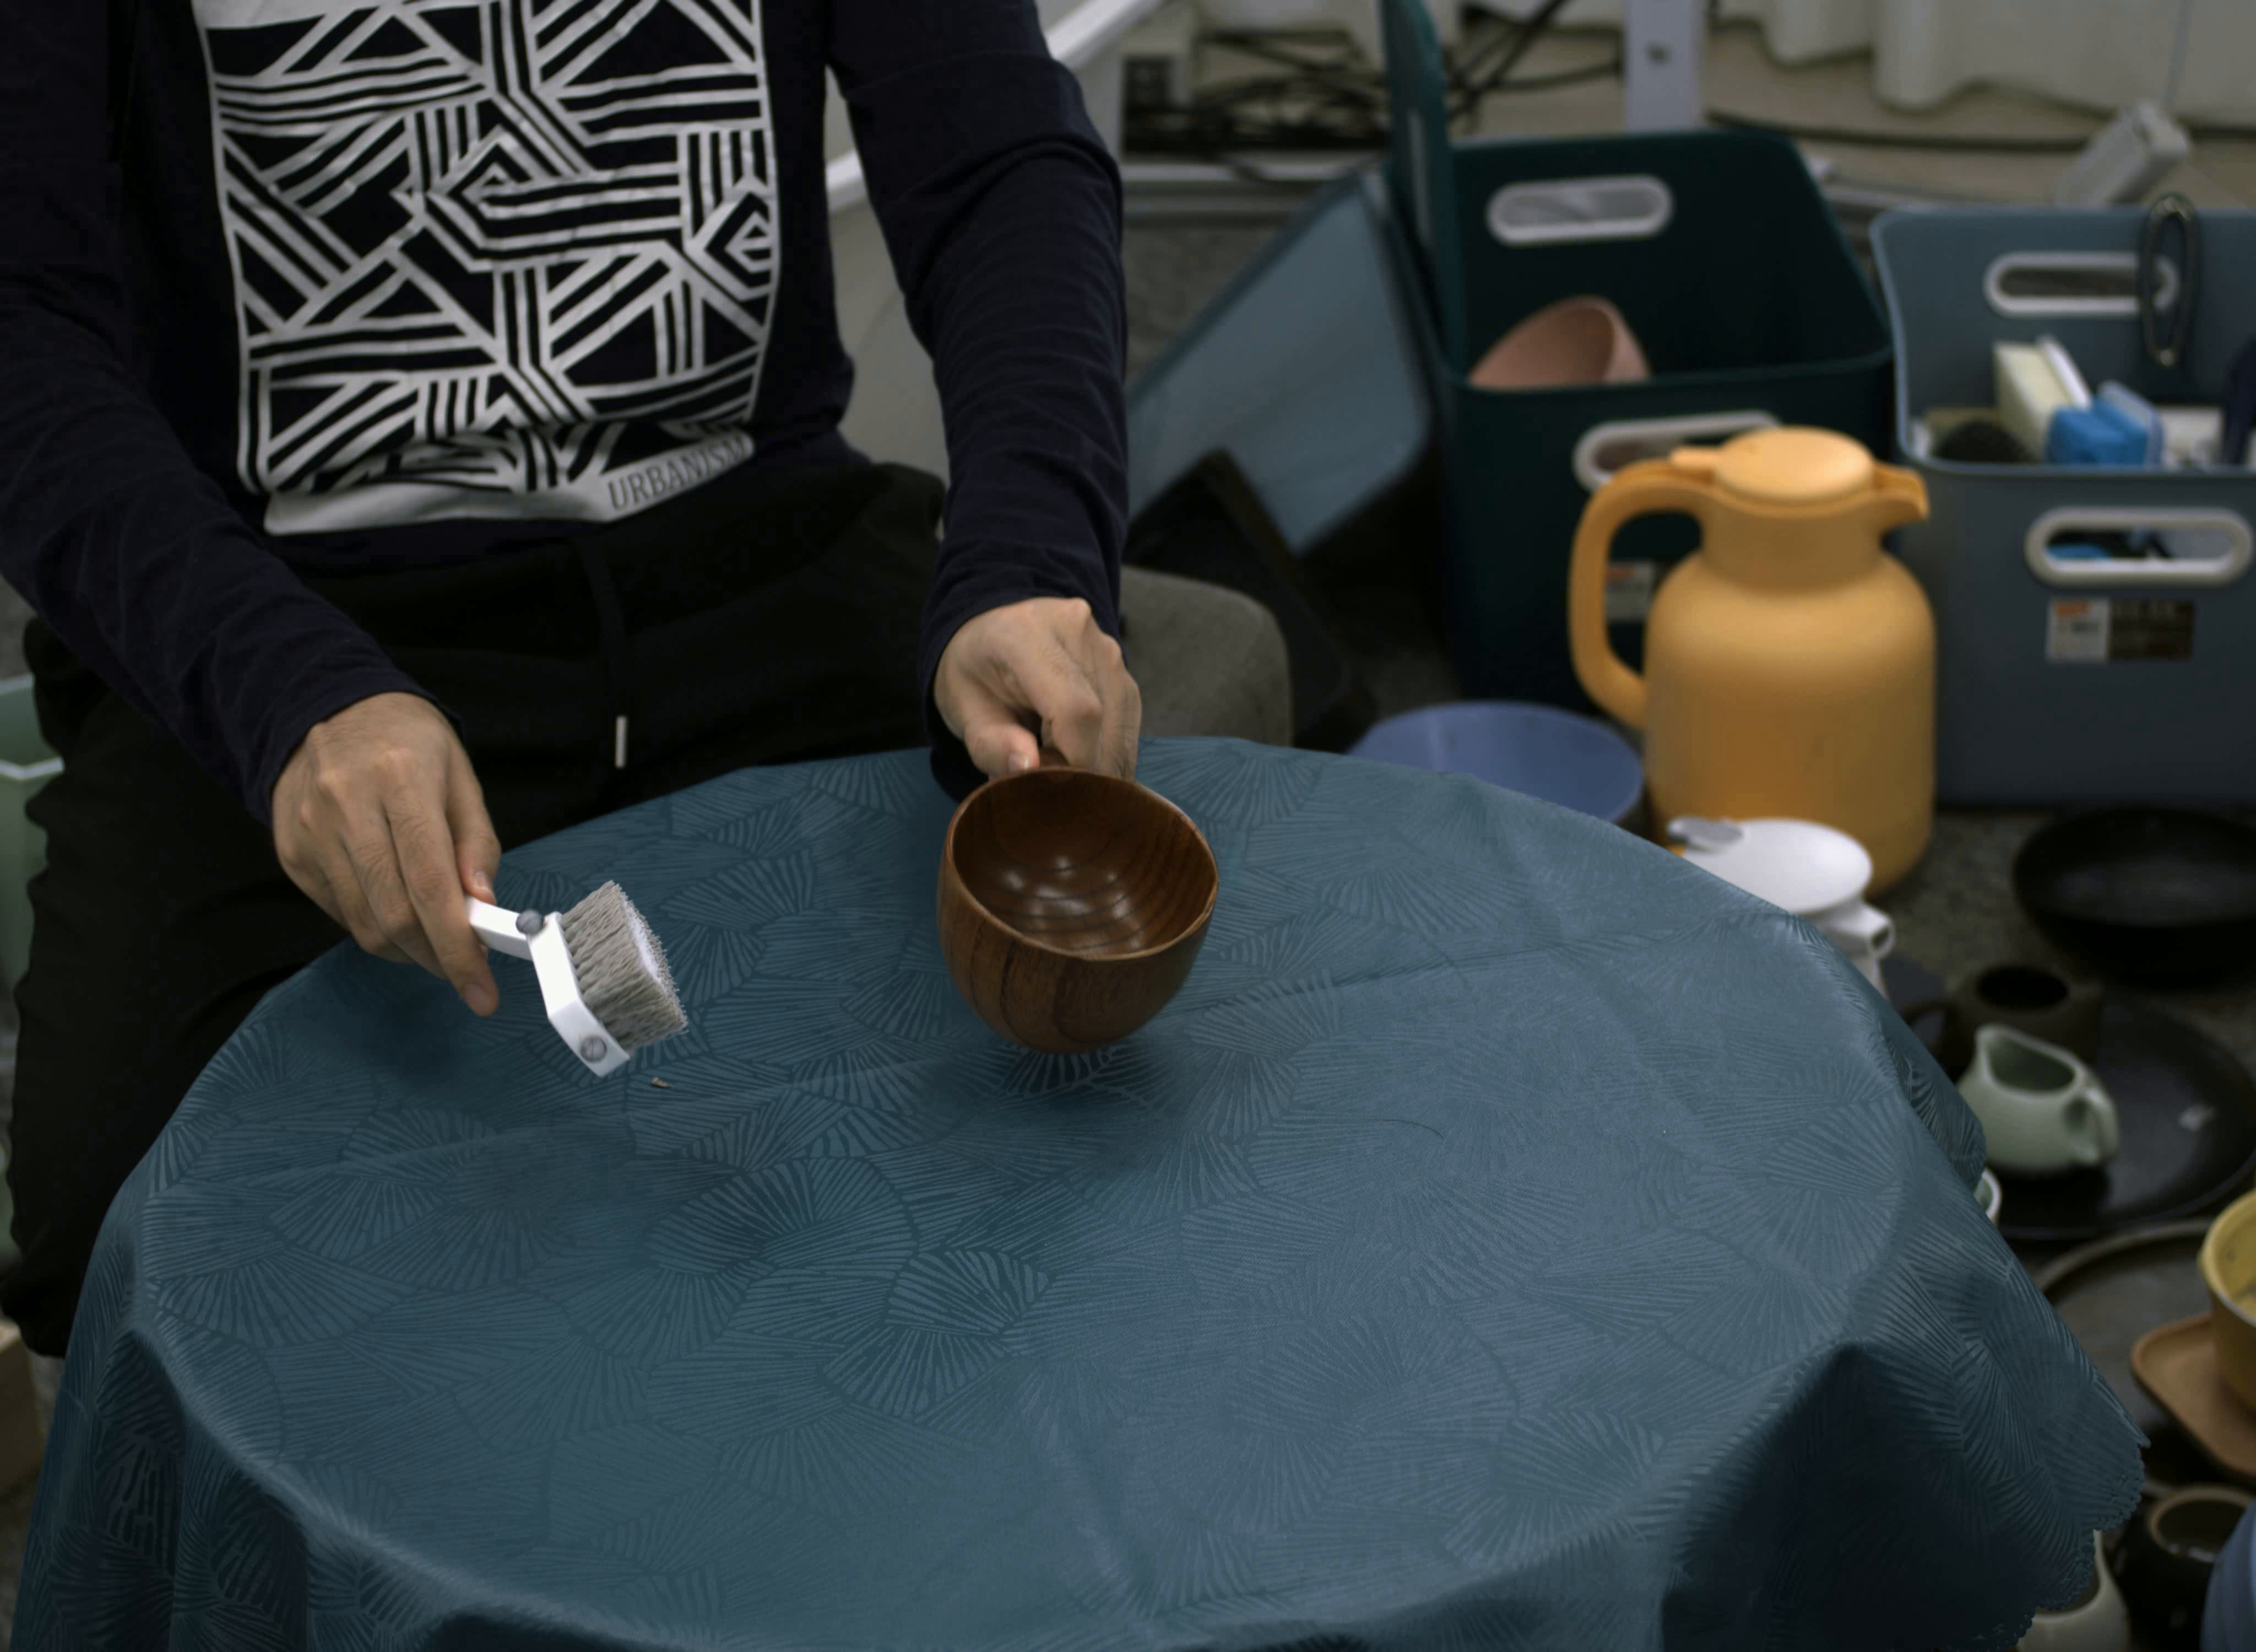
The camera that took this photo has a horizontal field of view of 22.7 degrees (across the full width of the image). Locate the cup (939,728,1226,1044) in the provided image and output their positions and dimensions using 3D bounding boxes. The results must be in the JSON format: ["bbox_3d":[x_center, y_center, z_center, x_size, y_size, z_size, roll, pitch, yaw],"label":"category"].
[{"bbox_3d":[-0.021,0.022,1.925,0.096,0.066,0.121,0,46,-16],"label":"cup"}]

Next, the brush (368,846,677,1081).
[{"bbox_3d":[-0.207,0.031,1.925,0.050,0.034,0.244,-44,27,-7],"label":"brush"}]
